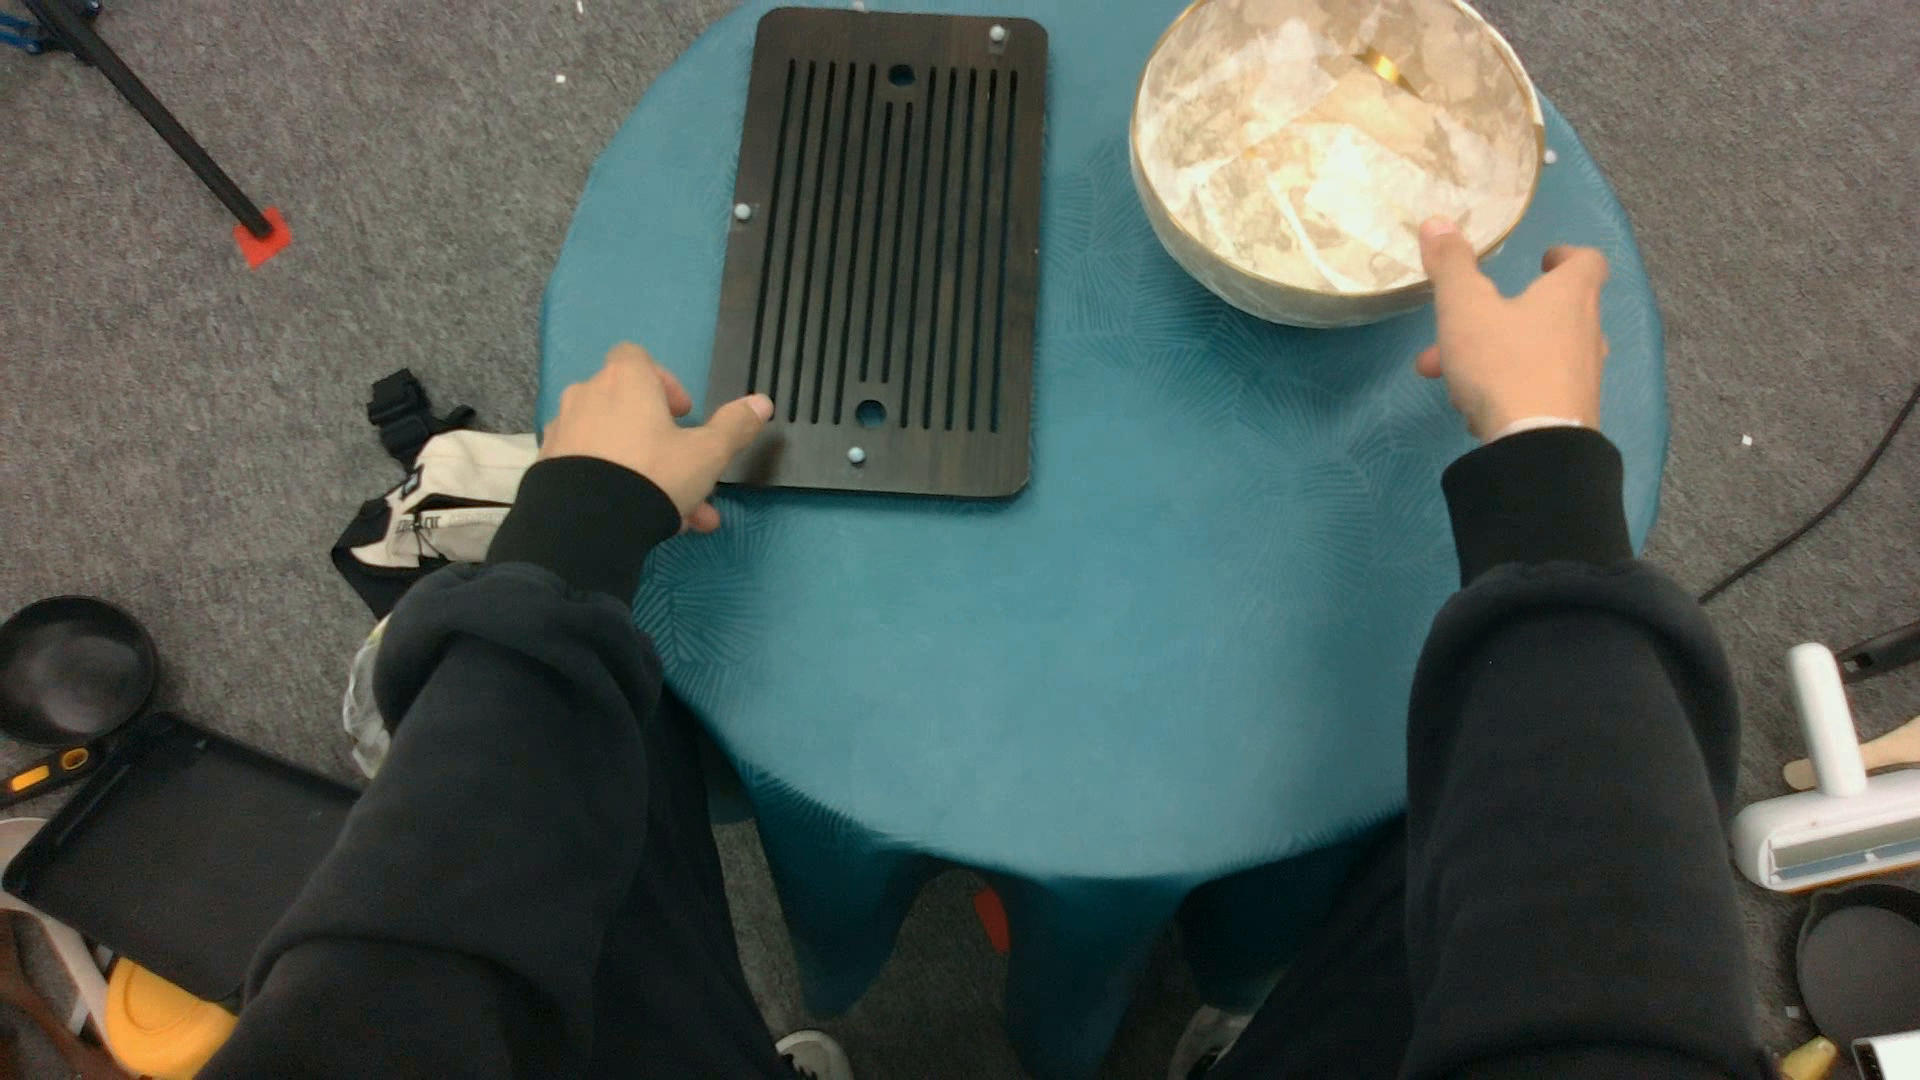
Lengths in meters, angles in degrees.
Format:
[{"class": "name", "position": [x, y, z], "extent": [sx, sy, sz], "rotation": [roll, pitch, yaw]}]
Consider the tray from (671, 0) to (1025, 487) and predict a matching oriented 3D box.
[{"class": "tray", "position": [-0.055, -0.171, 0.754], "extent": [0.170, 0.018, 0.307], "rotation": [3, 68, 1]}]

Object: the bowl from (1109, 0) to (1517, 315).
[{"class": "bowl", "position": [0.172, -0.196, 0.723], "extent": [0.215, 0.094, 0.215], "rotation": [0, 69, -1]}]
